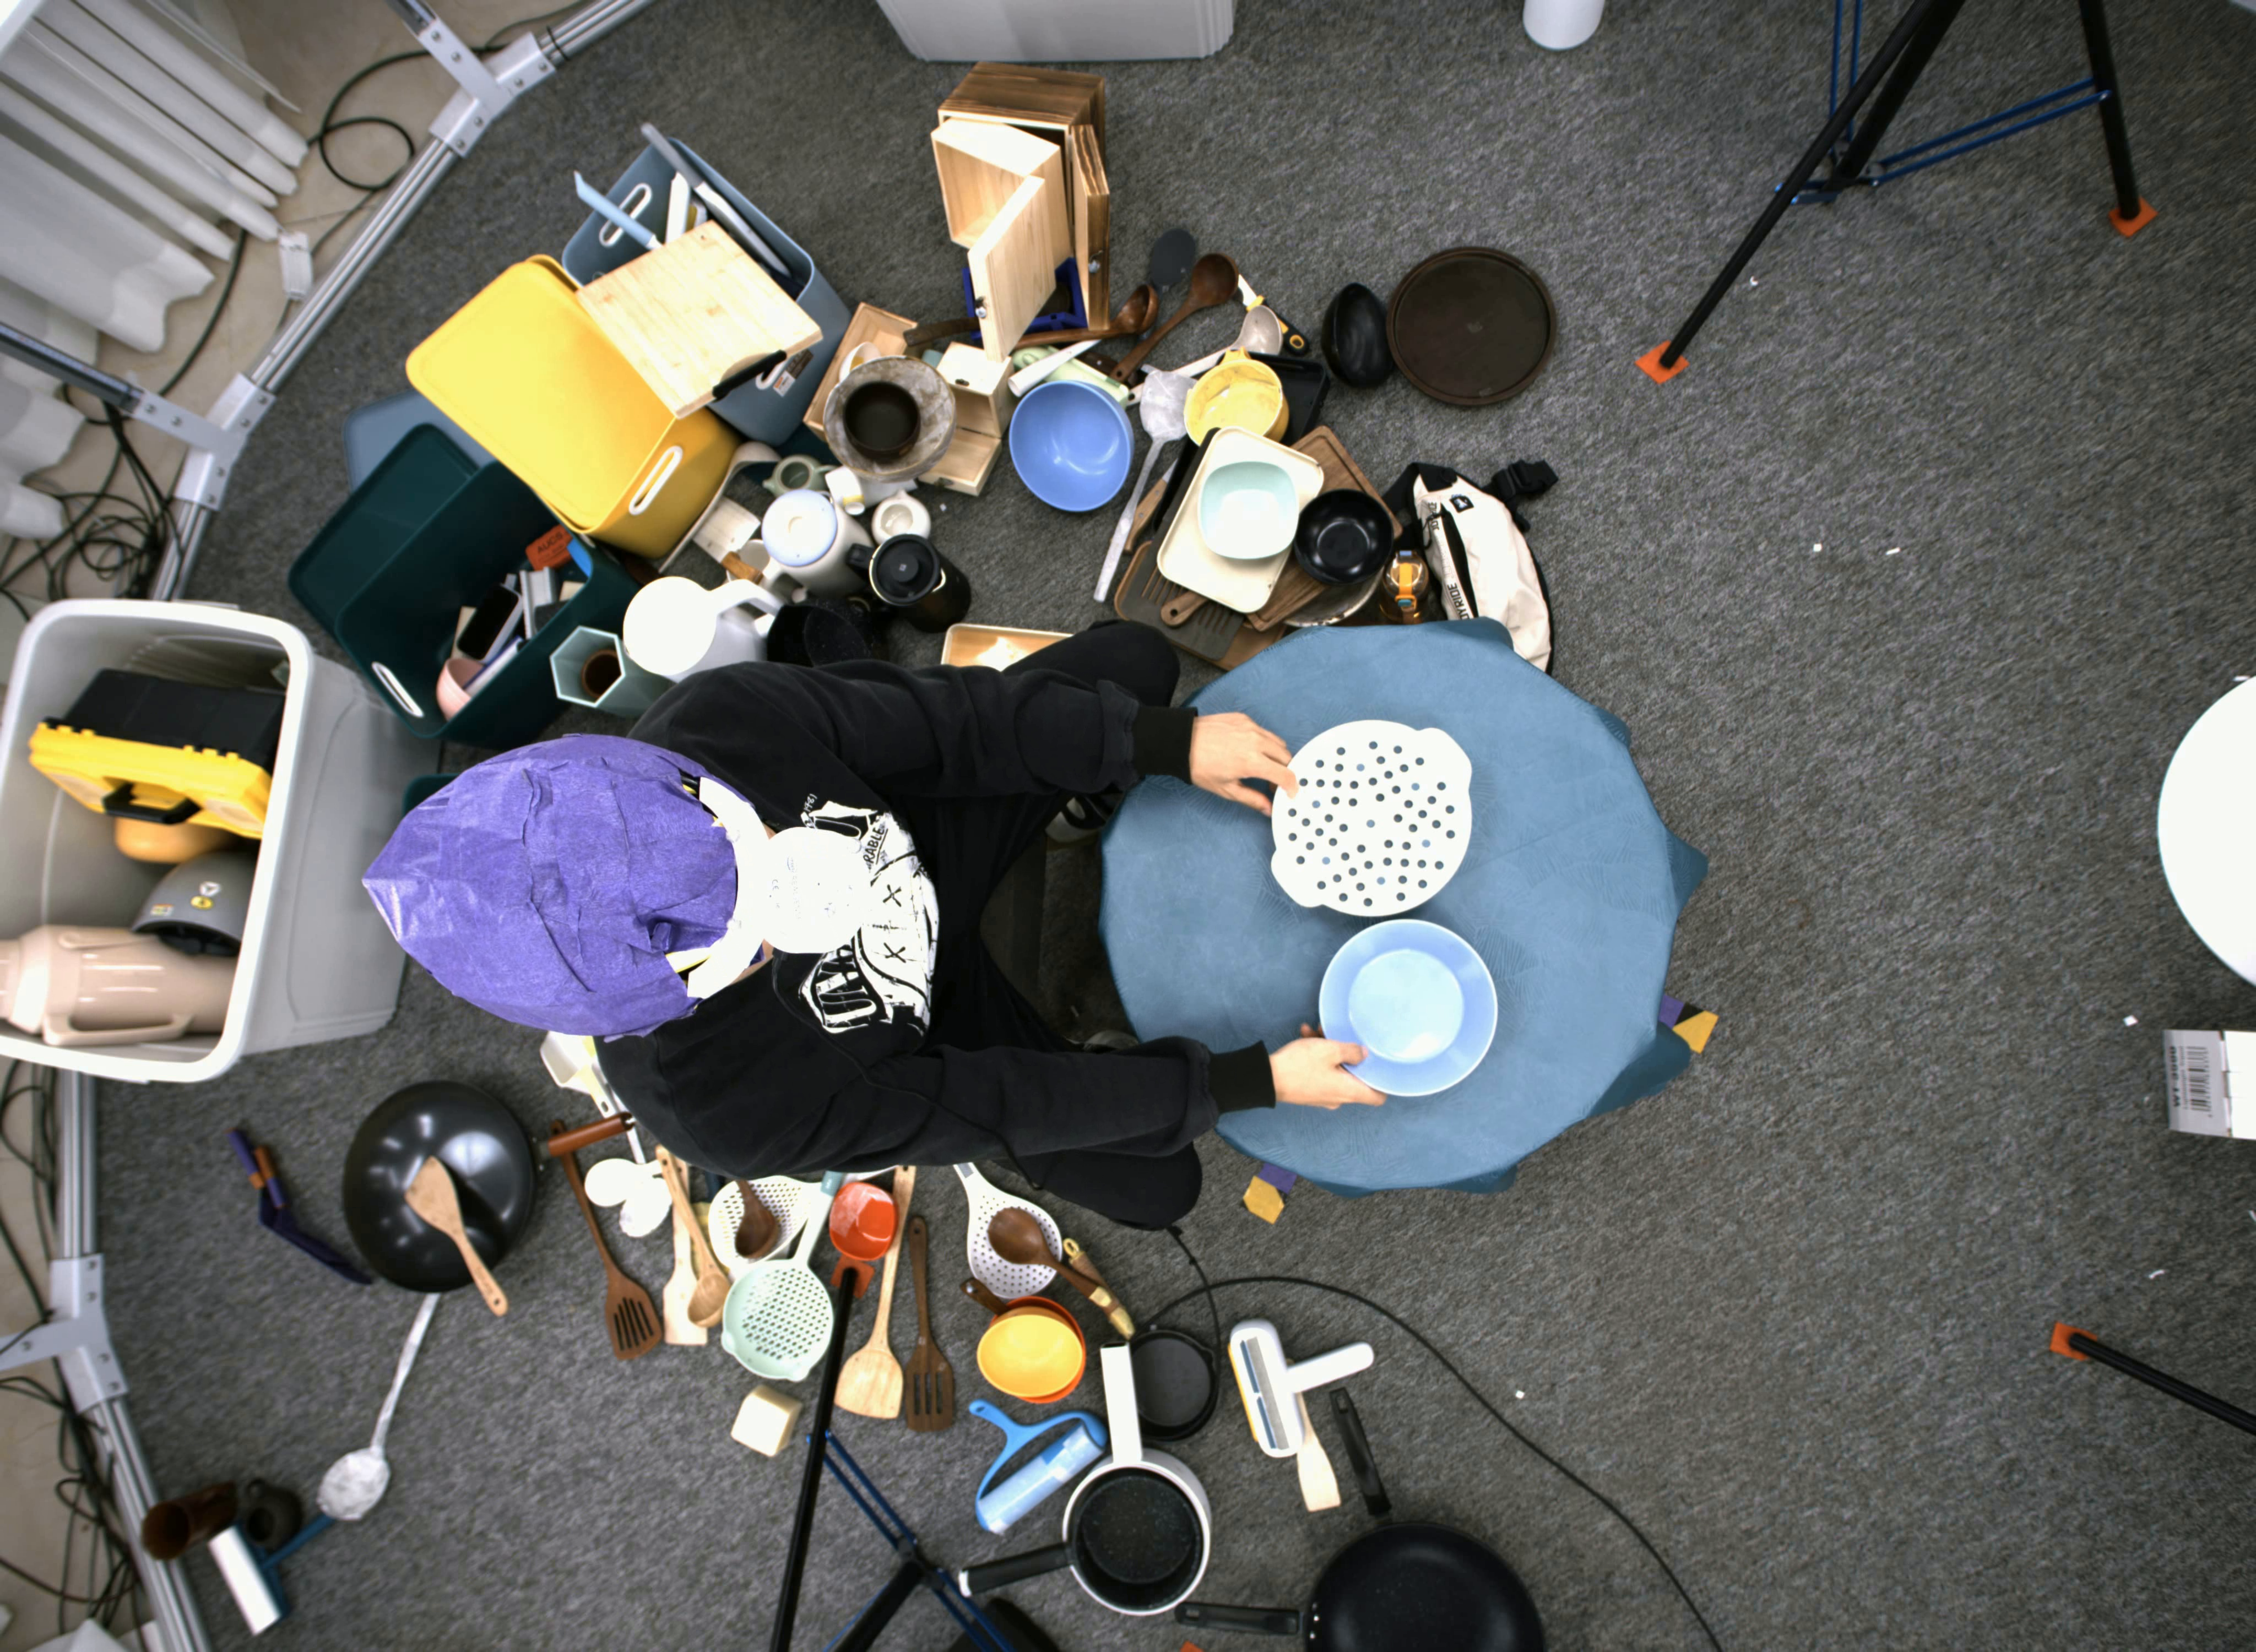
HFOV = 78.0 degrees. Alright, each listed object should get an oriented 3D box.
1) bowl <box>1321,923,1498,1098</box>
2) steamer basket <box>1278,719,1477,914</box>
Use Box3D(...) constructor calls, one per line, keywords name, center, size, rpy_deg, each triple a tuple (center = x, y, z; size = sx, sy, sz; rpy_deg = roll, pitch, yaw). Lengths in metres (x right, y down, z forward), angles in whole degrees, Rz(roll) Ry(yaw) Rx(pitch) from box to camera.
Box3D(name="bowl", center=(0.287, 0.187, 1.418), size=(0.177, 0.070, 0.175), rpy_deg=(-1, 86, 9))
Box3D(name="steamer basket", center=(0.258, -0.008, 1.438), size=(0.231, 0.069, 0.201), rpy_deg=(-40, 80, 3))
